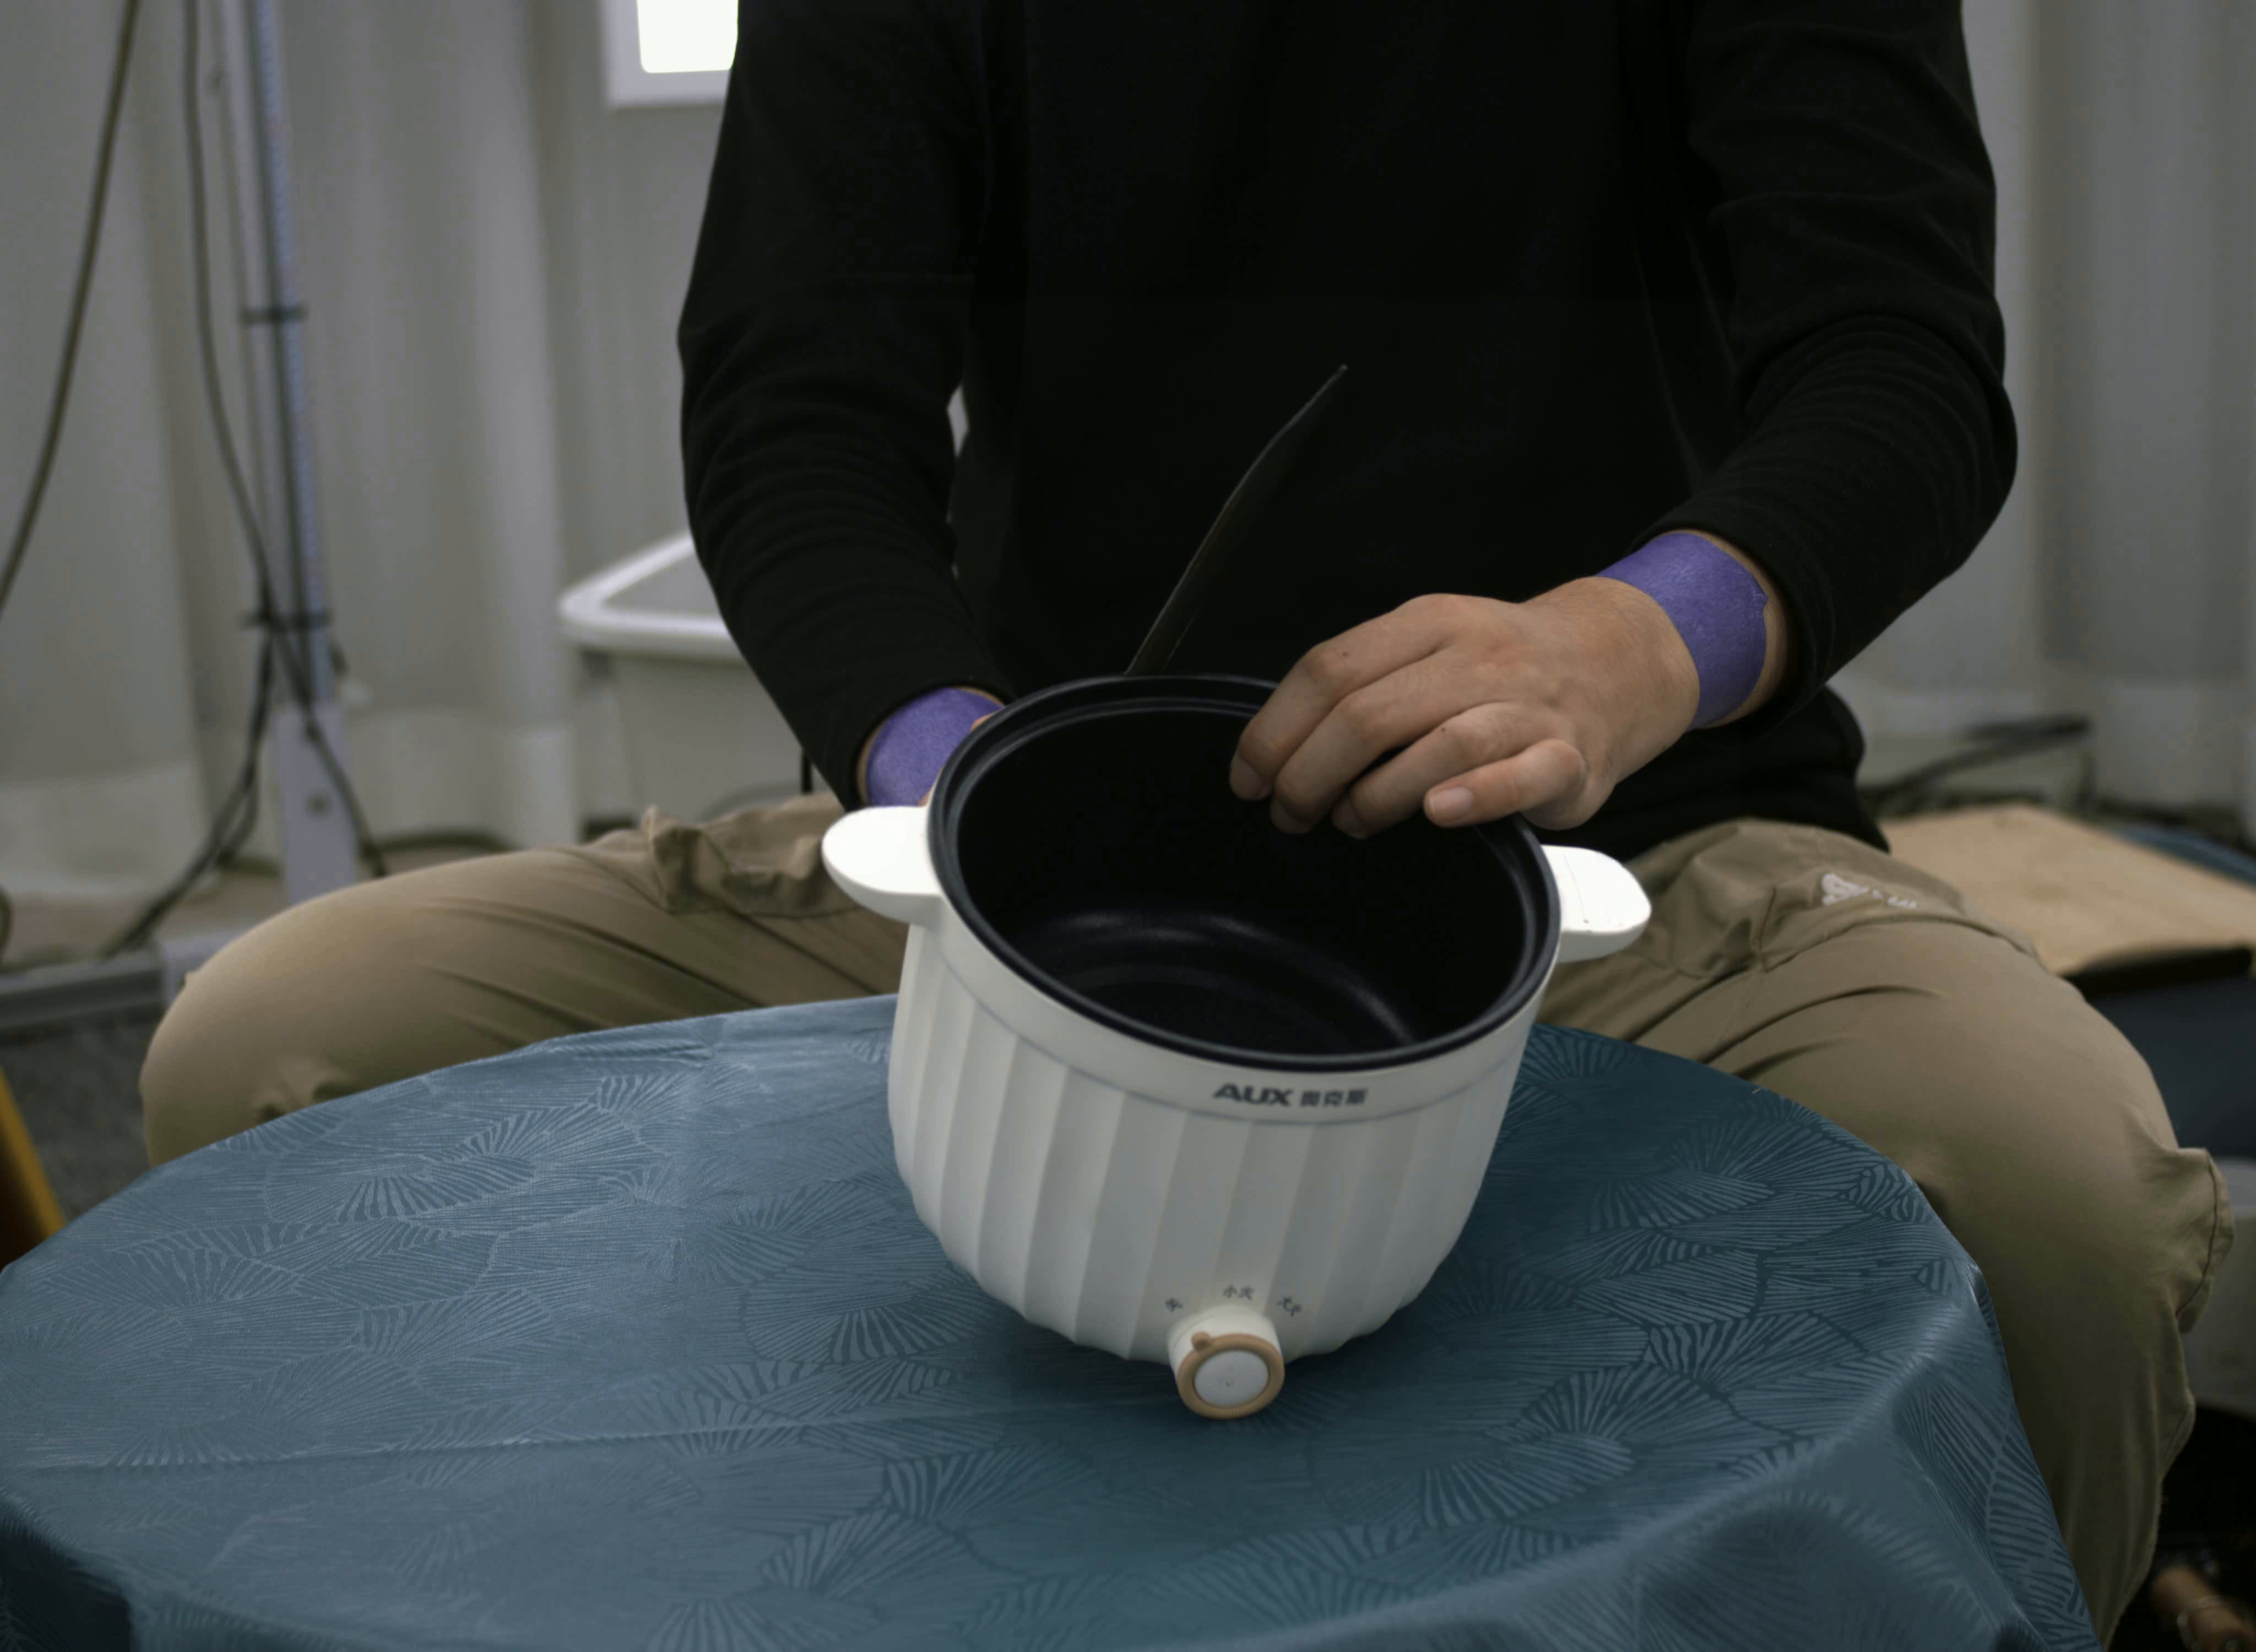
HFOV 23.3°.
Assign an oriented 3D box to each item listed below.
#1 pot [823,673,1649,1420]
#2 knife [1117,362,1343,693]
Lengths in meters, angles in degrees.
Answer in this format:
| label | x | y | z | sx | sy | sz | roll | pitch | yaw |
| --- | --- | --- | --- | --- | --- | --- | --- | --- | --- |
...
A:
| label | x | y | z | sx | sy | sz | roll | pitch | yaw |
| --- | --- | --- | --- | --- | --- | --- | --- | --- | --- |
| pot | 0.024 | 0.065 | 1.566 | 0.239 | 0.141 | 0.193 | 2 | 32 | -12 |
| knife | -0.001 | -0.033 | 1.669 | 0.021 | 0.299 | 0.081 | 36 | 52 | 6 |
